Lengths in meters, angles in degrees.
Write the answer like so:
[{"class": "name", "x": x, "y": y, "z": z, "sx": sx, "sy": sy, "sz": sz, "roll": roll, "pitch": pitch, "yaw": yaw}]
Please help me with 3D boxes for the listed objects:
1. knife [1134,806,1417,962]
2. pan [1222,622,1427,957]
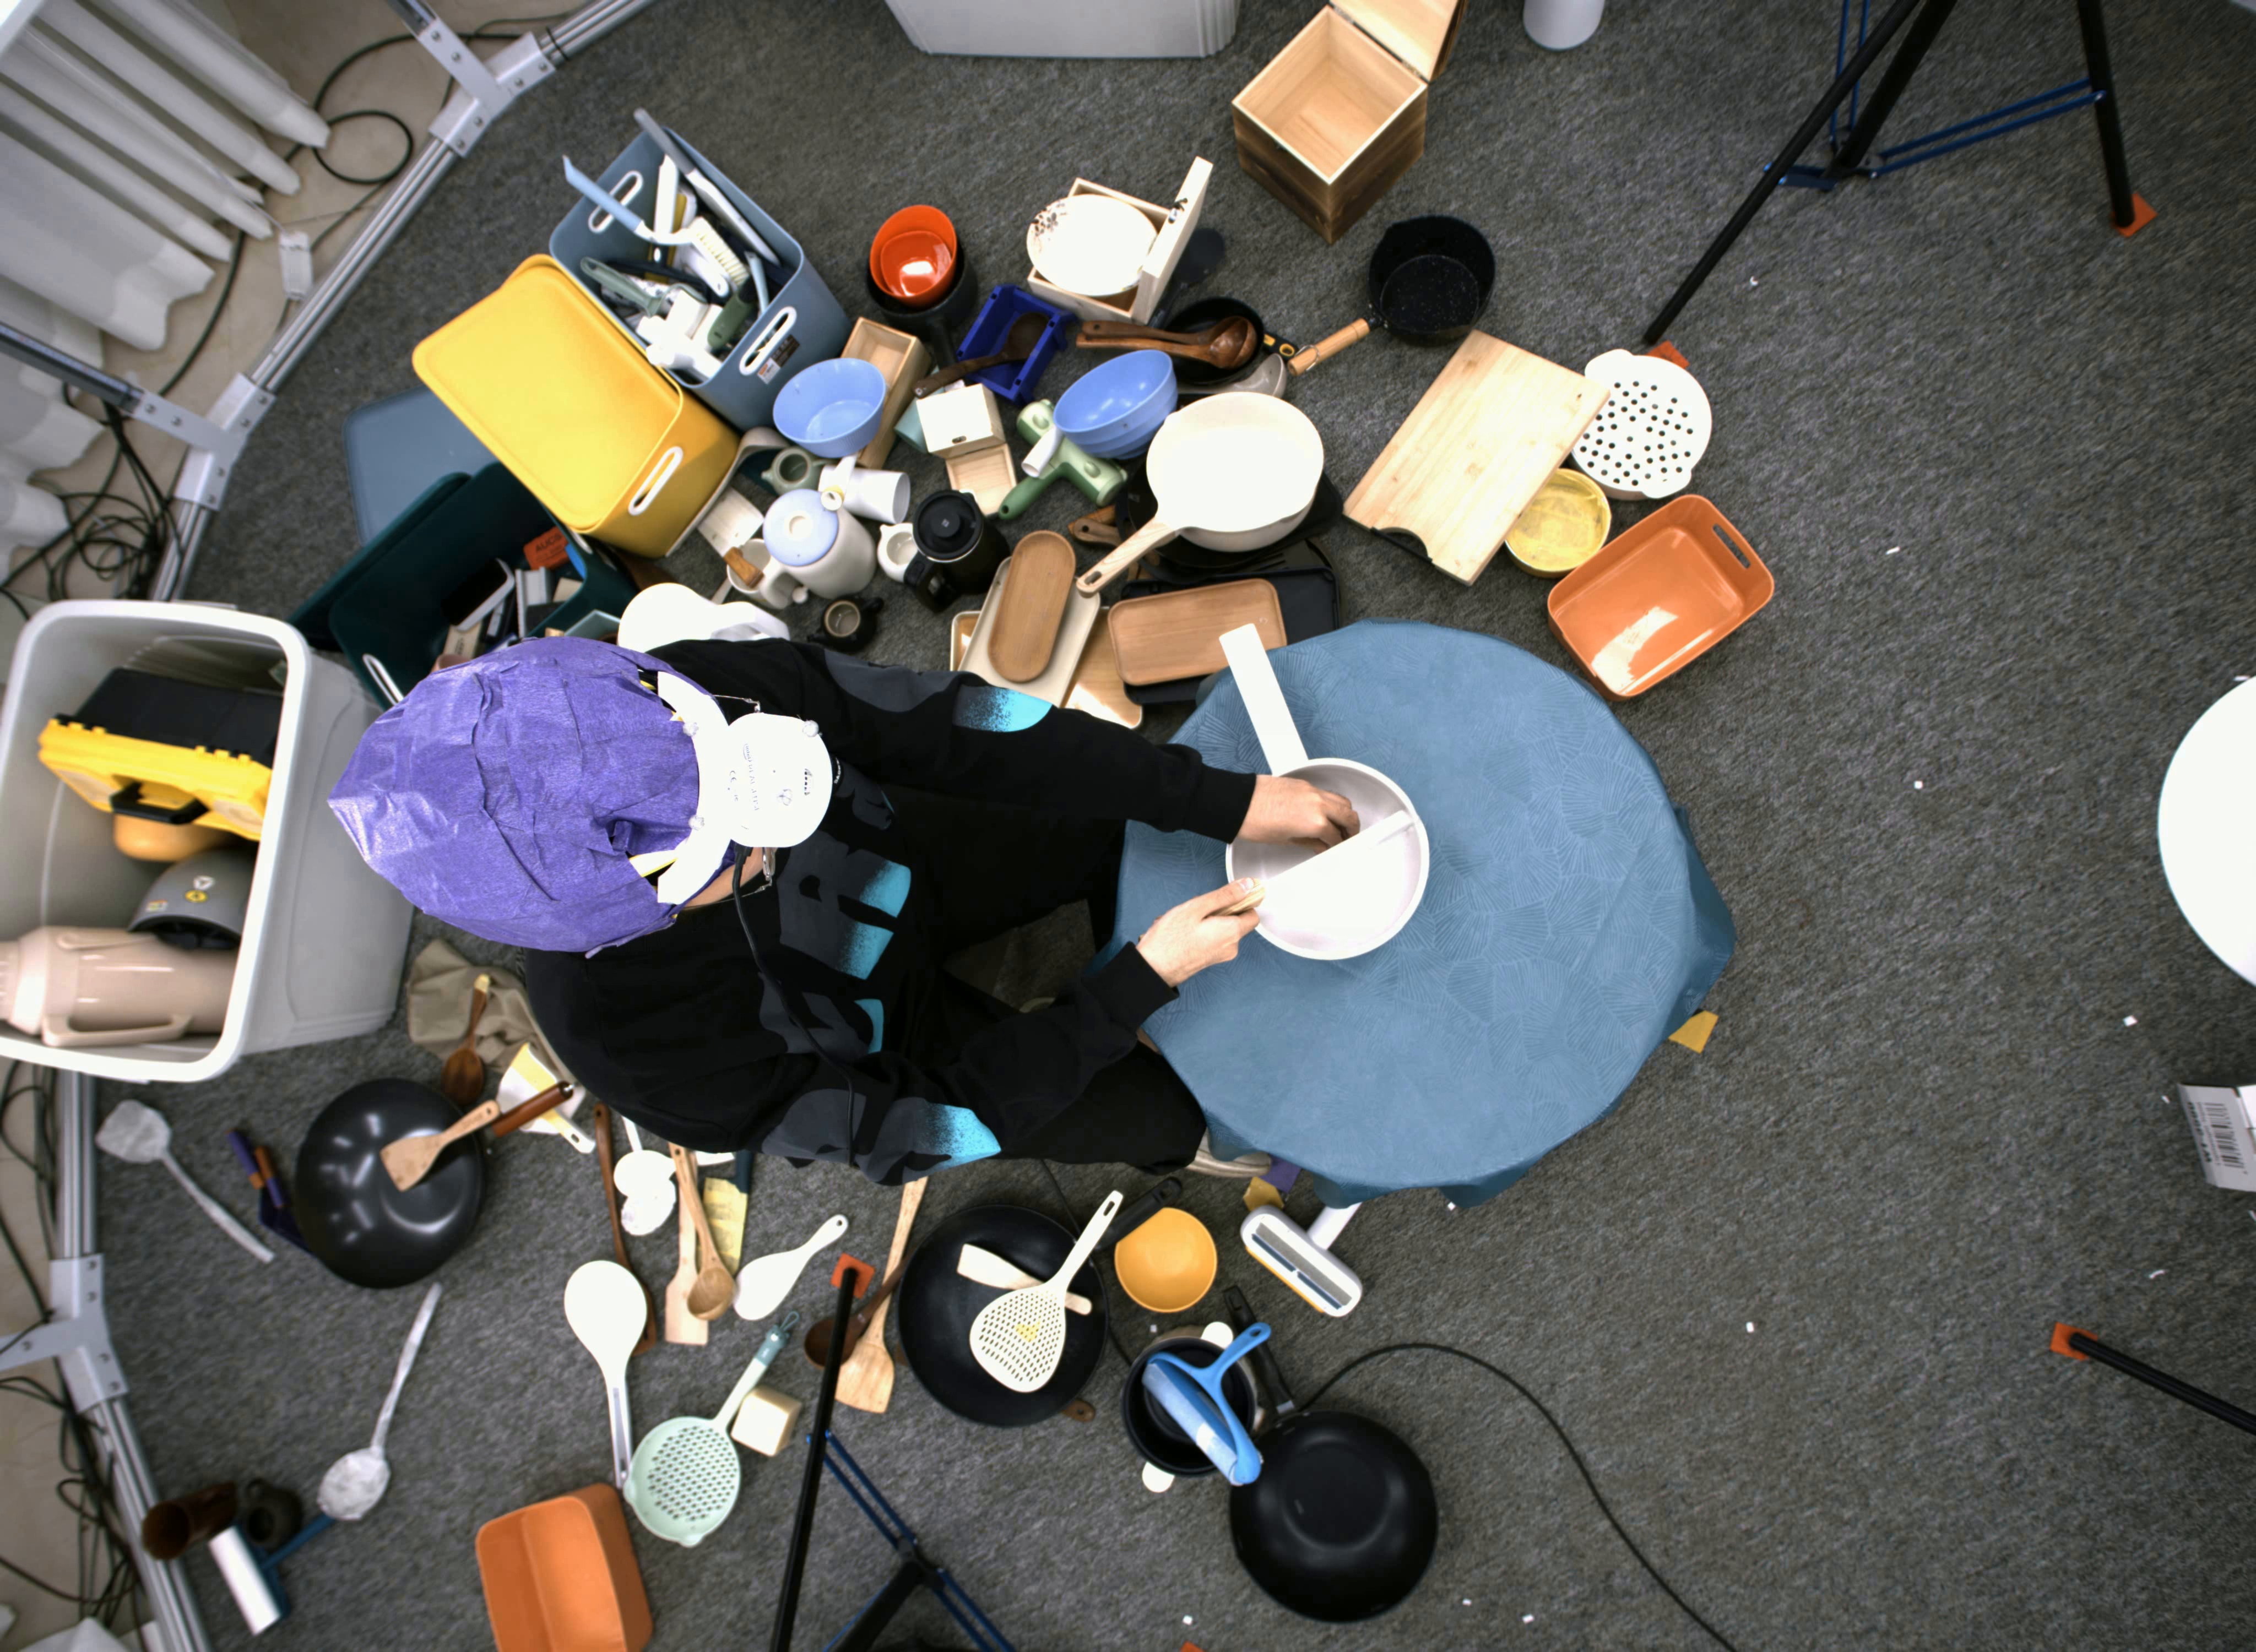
[{"class": "knife", "x": 0.148, "y": 0.053, "z": 1.334, "sx": 0.314, "sy": 0.116, "sz": 0.021, "roll": -25, "pitch": 74, "yaw": -10}, {"class": "pan", "x": 0.179, "y": -0.036, "z": 1.433, "sx": 0.202, "sy": 0.102, "sz": 0.352, "roll": -22, "pitch": 82, "yaw": 9}]
